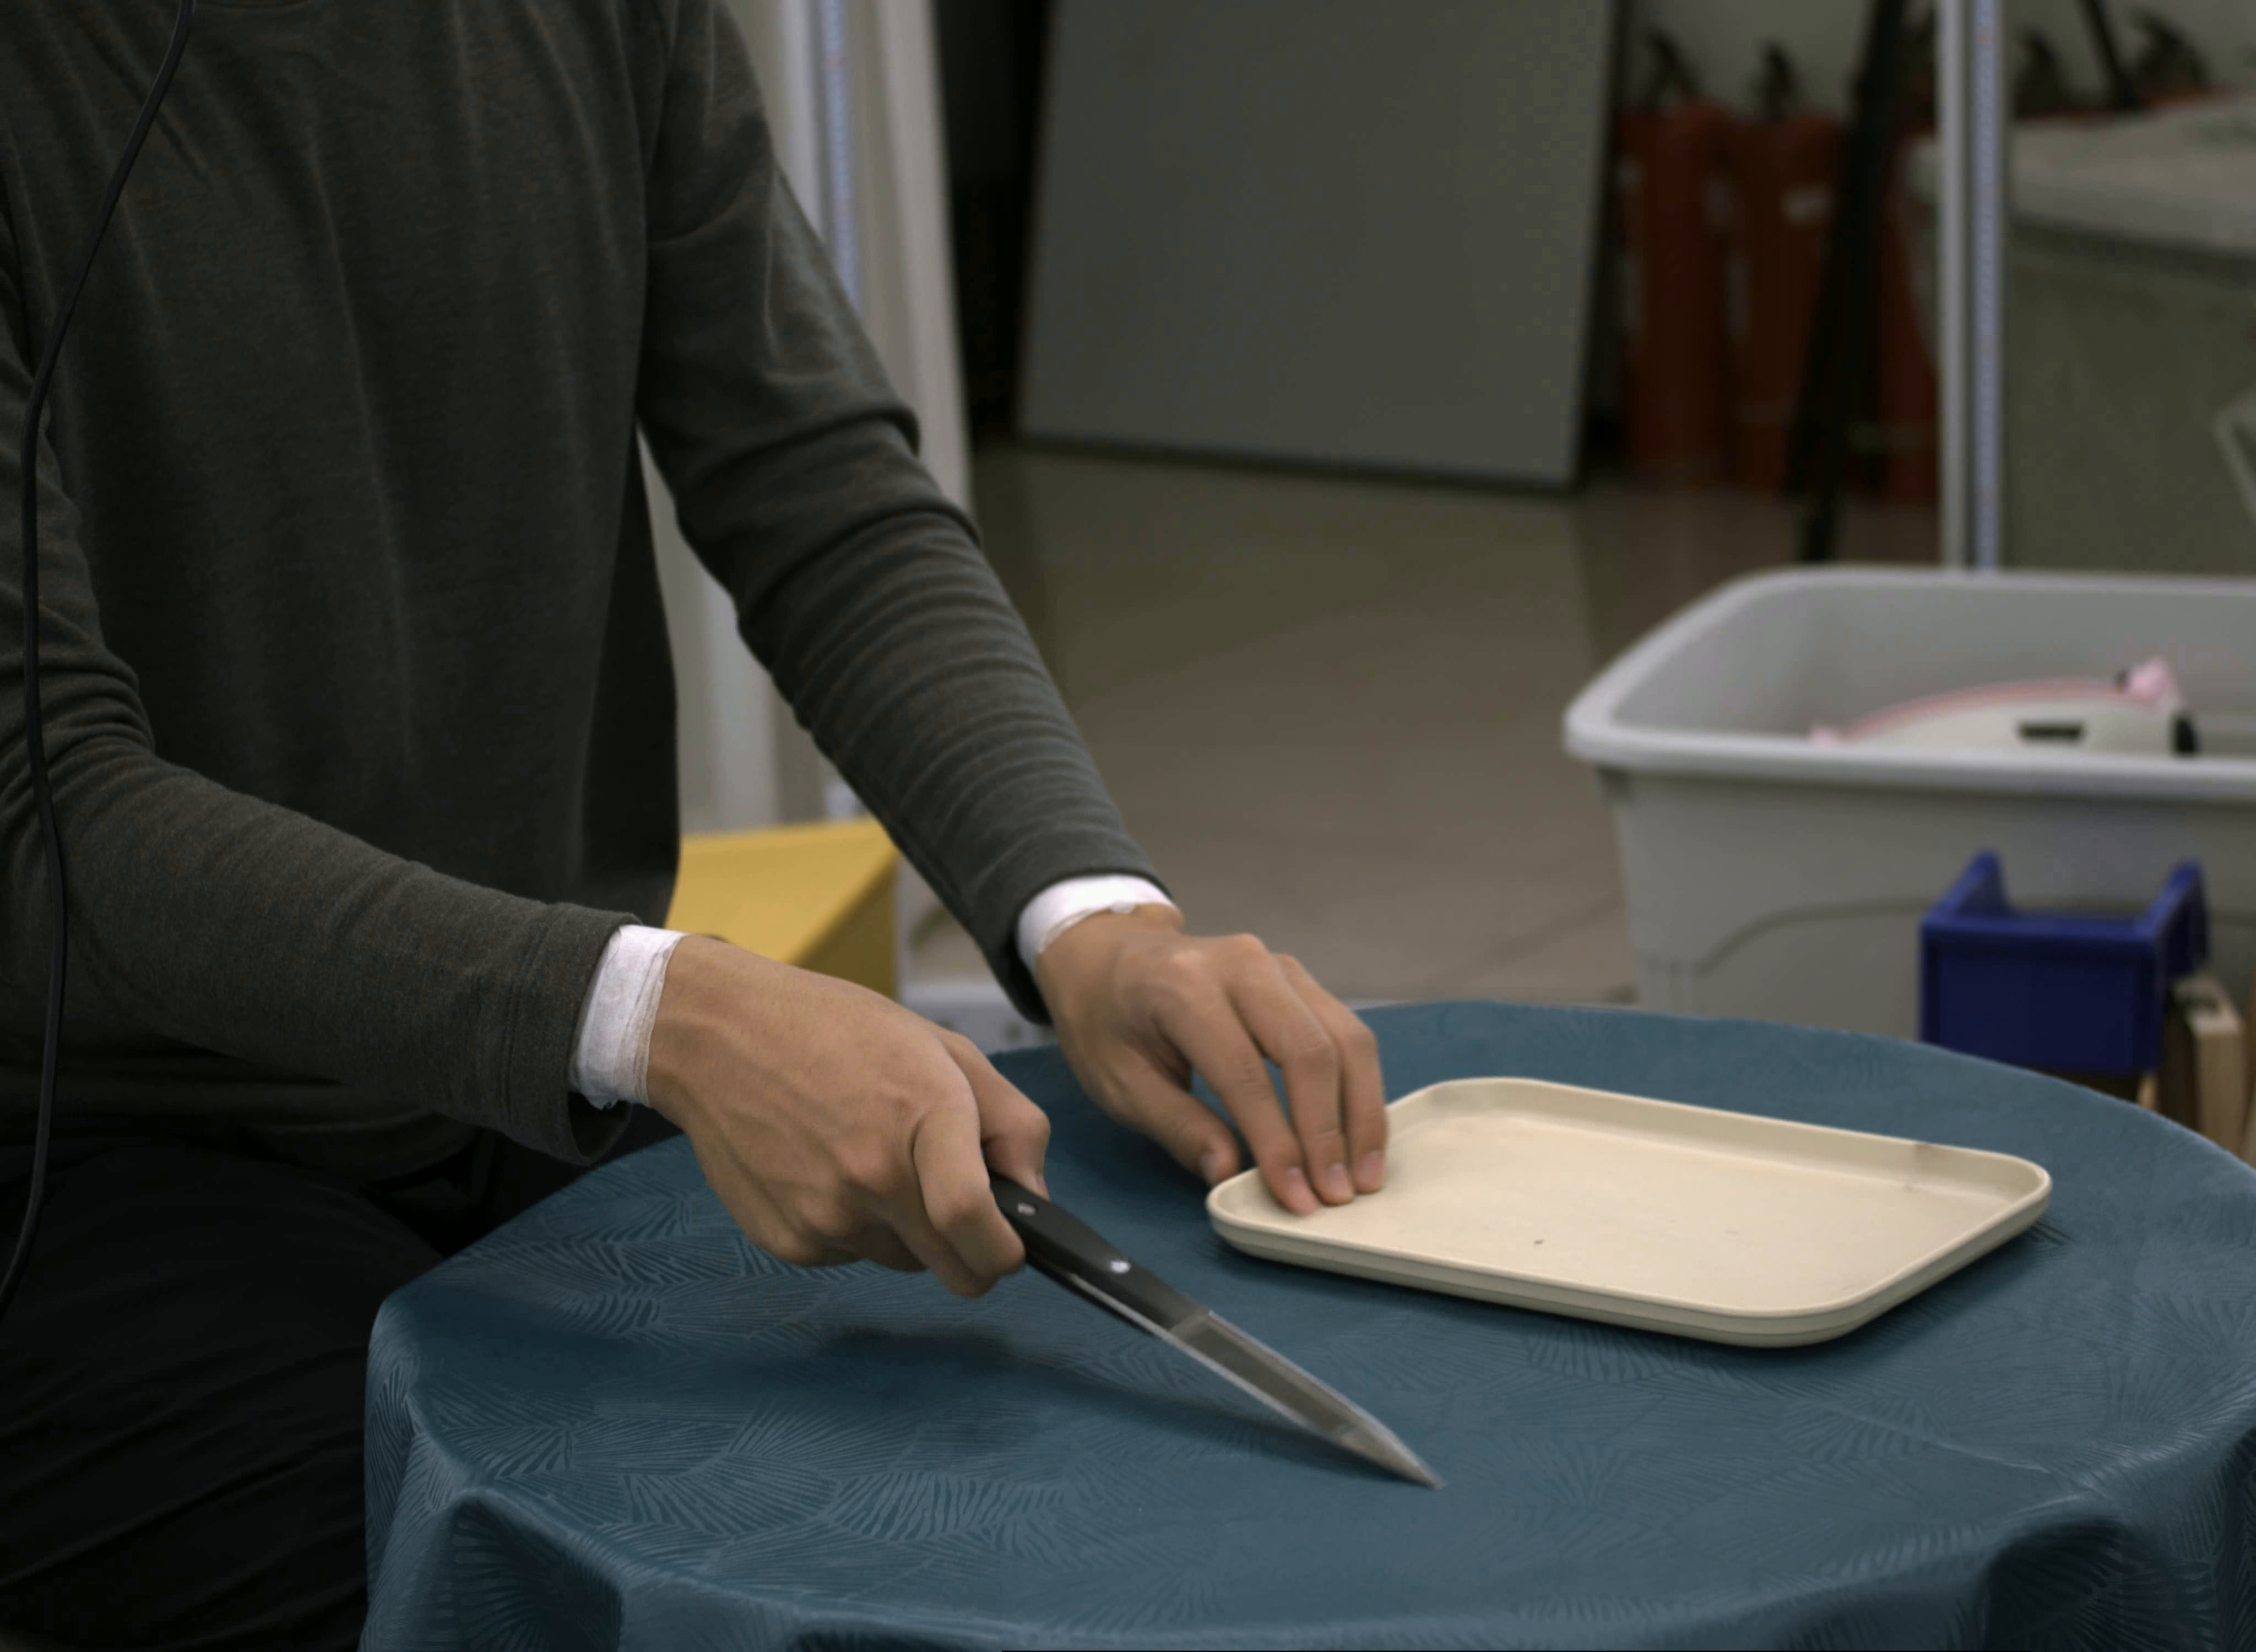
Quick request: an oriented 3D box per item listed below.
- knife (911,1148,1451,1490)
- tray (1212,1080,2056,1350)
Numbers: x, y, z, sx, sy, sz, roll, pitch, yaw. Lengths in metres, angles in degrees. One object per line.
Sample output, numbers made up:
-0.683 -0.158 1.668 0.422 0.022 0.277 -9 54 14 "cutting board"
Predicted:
0.011 0.144 1.573 0.024 0.016 0.241 -17 30 -36 "knife"
0.158 0.121 1.691 0.241 0.017 0.168 7 18 39 "tray"
